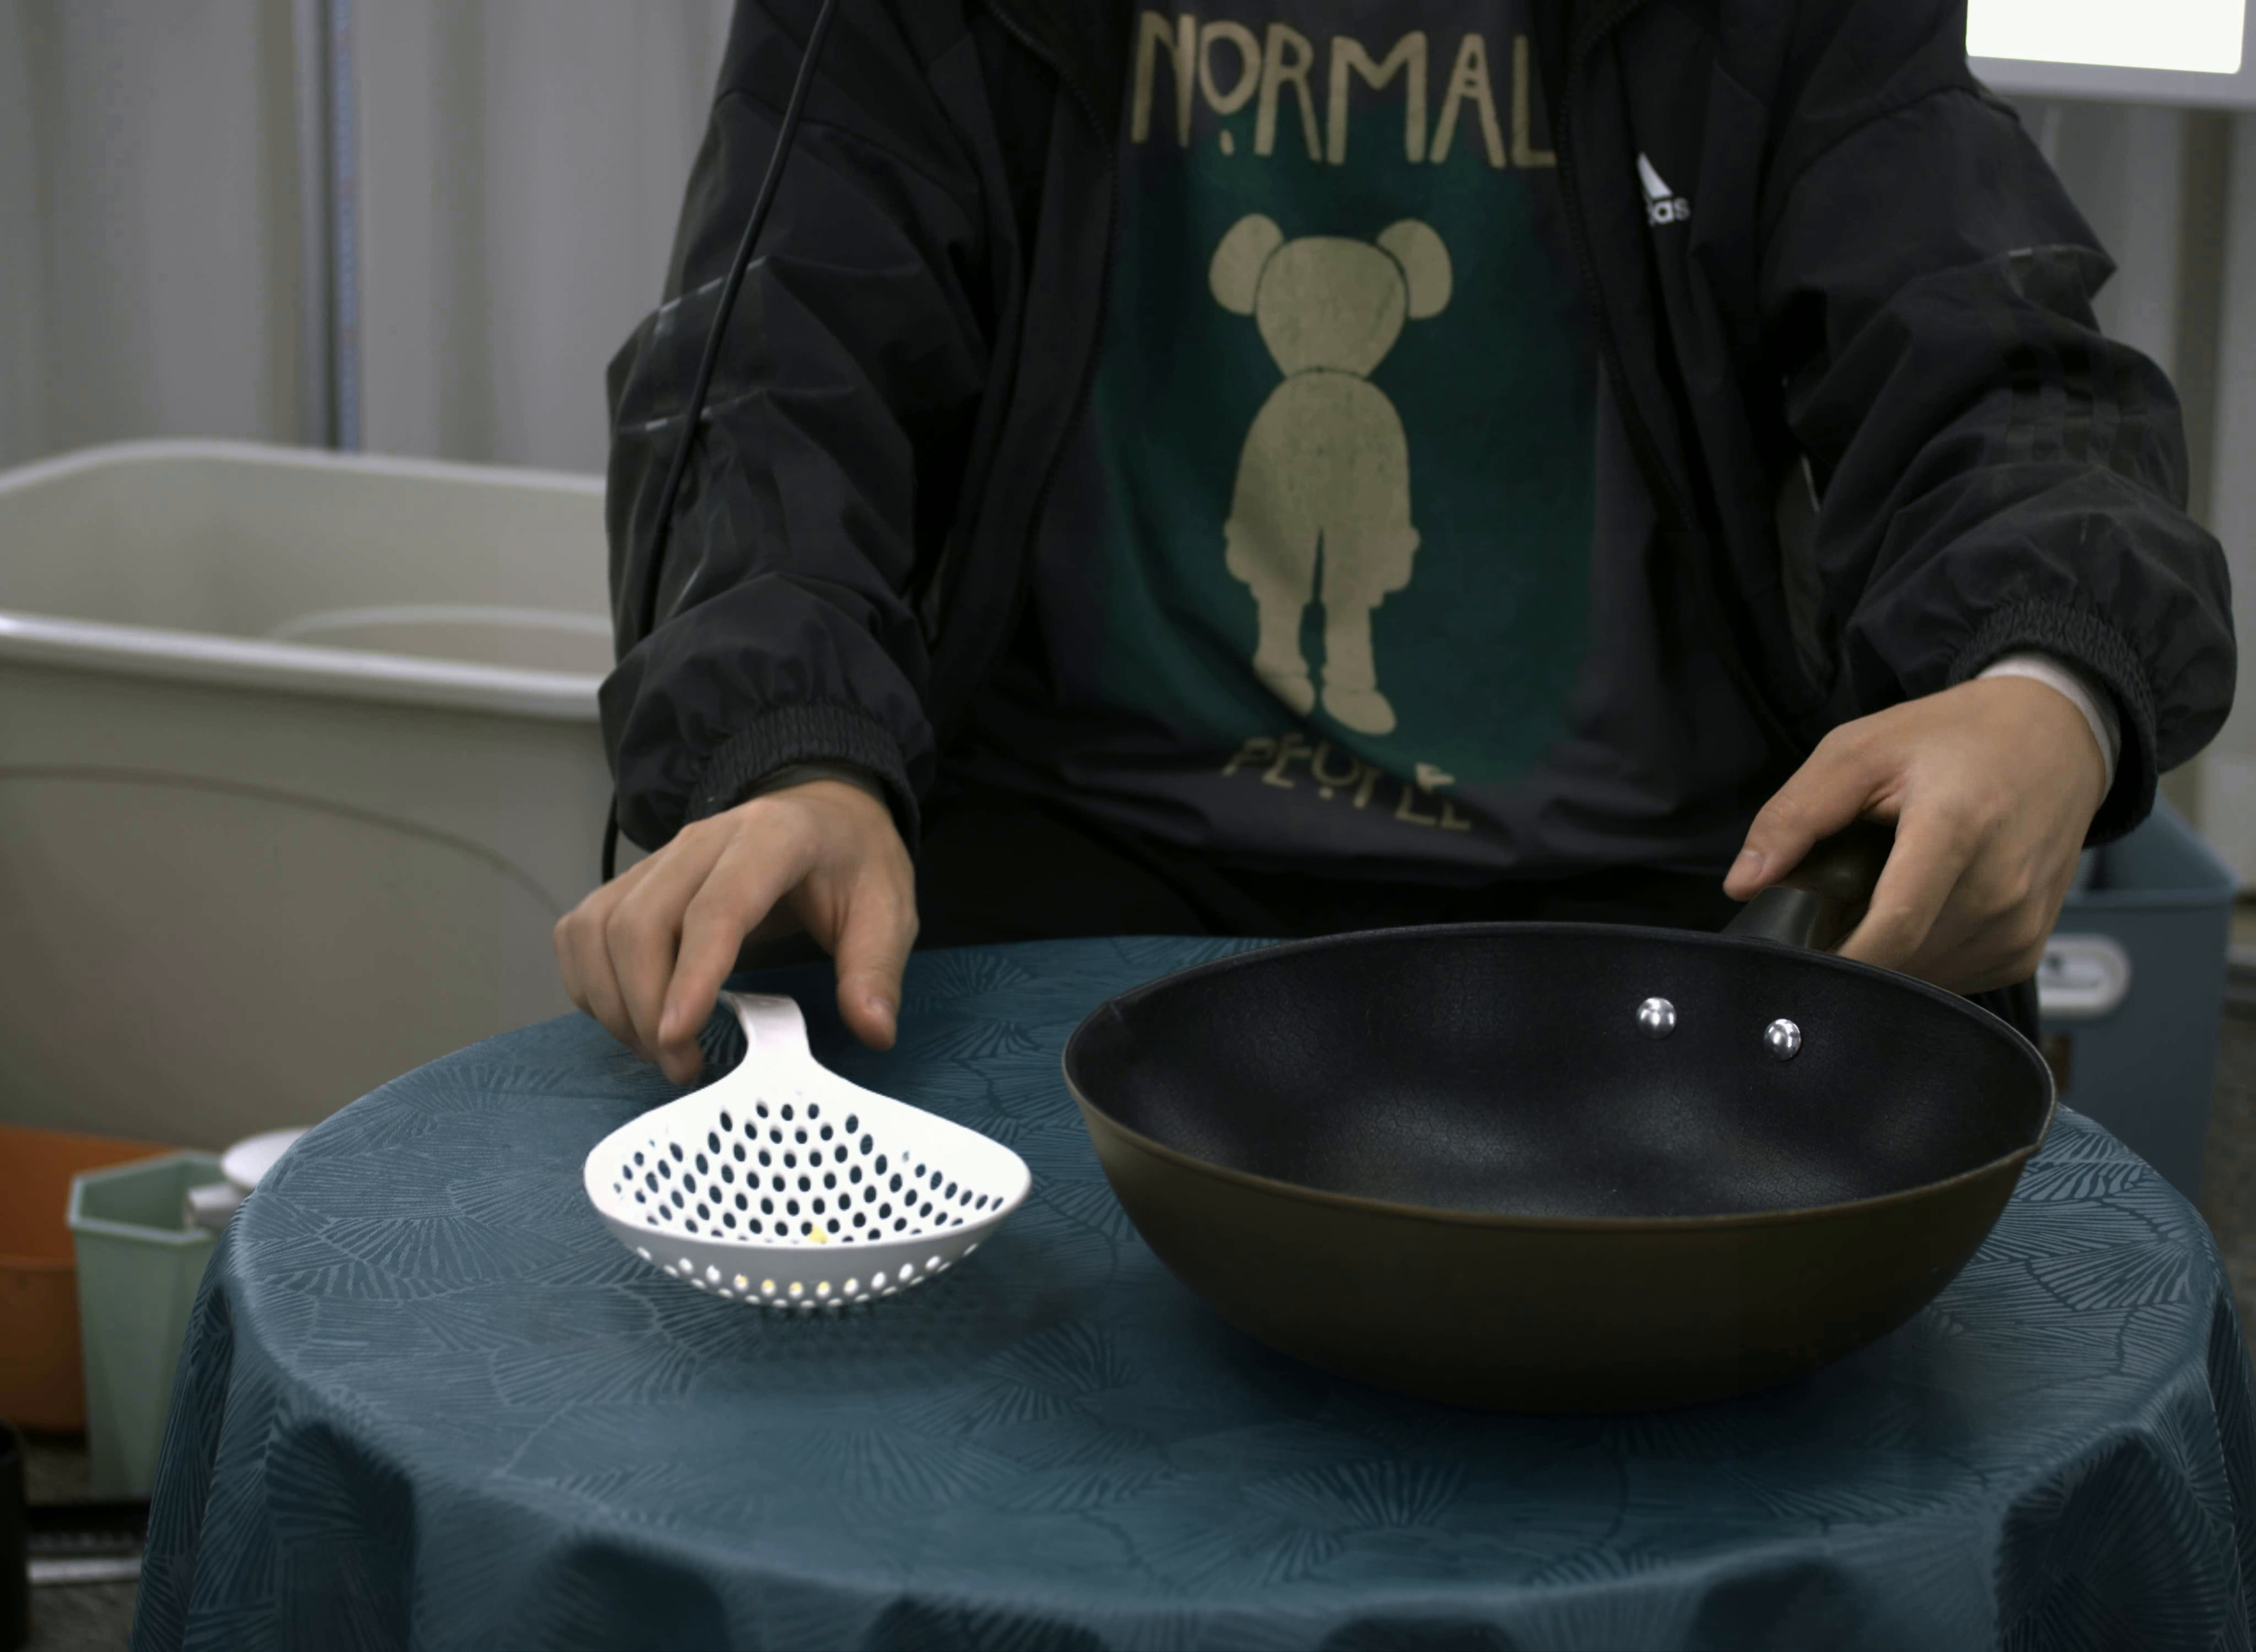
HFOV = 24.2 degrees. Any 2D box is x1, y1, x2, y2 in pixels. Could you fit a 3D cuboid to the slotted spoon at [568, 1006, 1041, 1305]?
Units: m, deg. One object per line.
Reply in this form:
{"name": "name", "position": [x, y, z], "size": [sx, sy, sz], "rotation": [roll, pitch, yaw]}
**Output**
{"name": "slotted spoon", "position": [-0.107, 0.088, 1.632], "size": [0.137, 0.051, 0.345], "rotation": [-1, 15, -7]}

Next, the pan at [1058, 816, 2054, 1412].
{"name": "pan", "position": [0.163, 0.082, 1.584], "size": [0.285, 0.087, 0.464], "rotation": [9, 17, 26]}
